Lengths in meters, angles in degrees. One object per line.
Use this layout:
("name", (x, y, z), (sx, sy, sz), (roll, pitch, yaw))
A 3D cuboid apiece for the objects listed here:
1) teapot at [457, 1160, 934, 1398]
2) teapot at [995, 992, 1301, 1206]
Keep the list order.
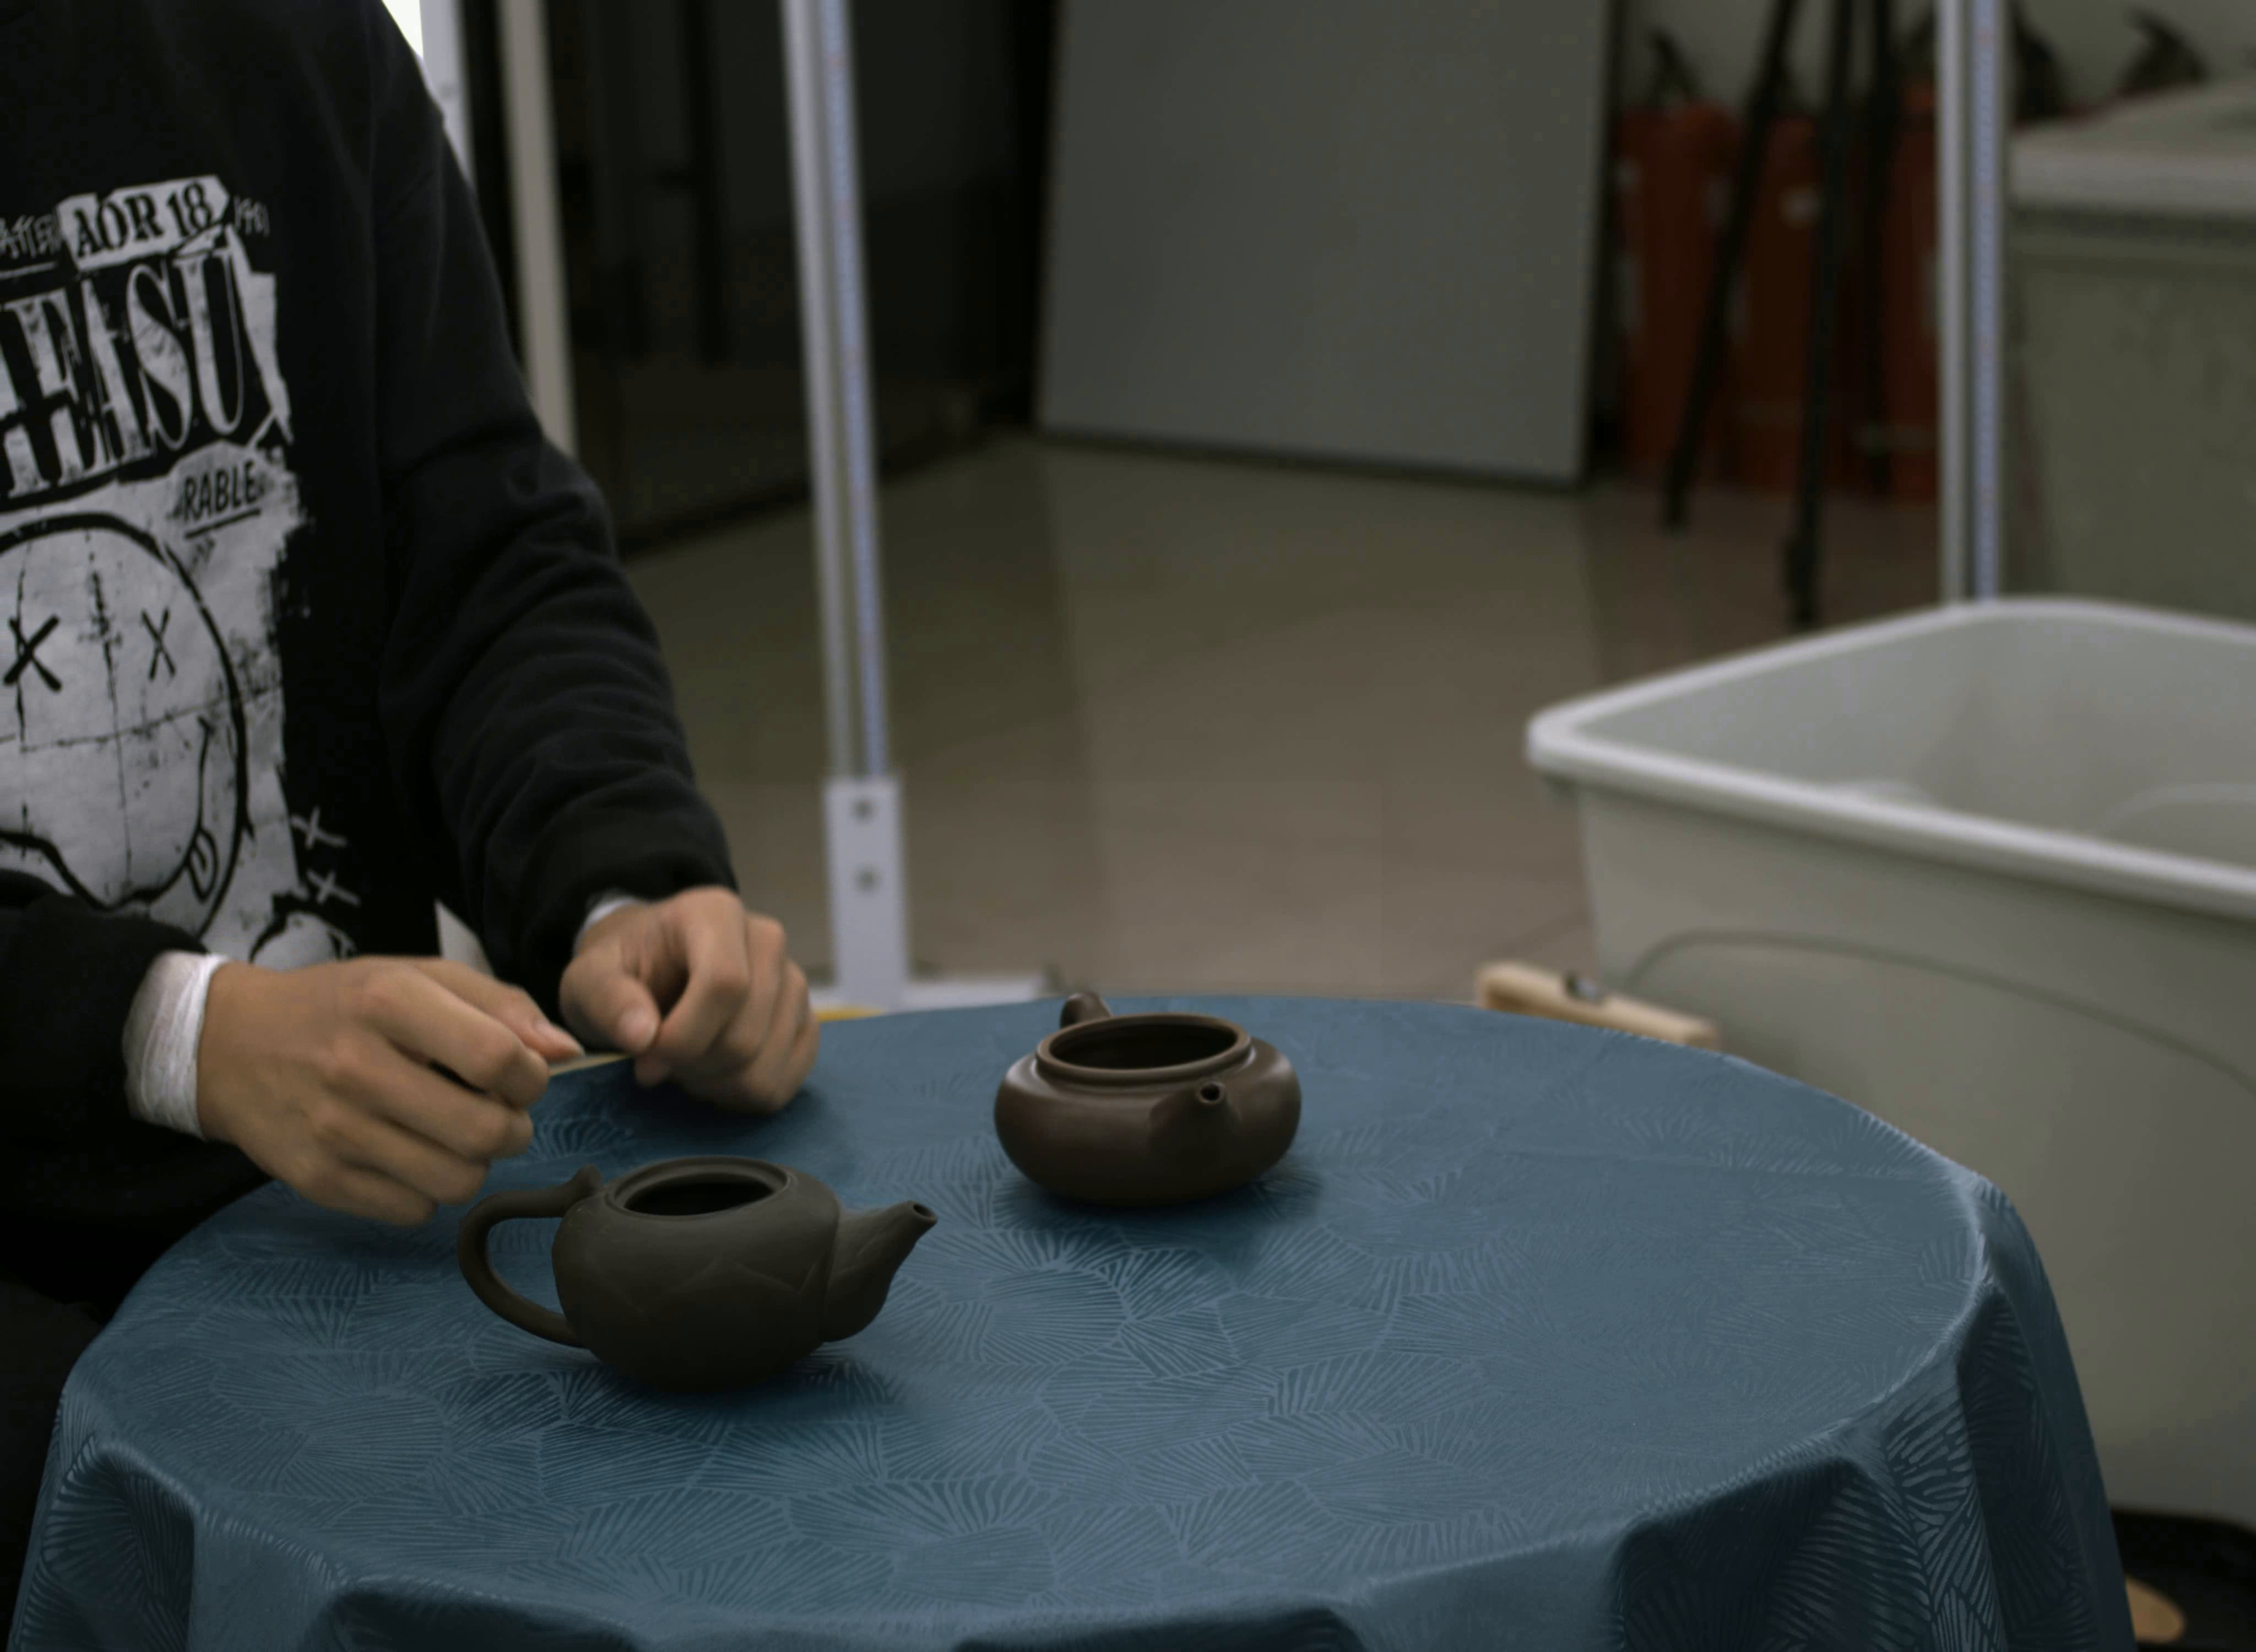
("teapot", (-0.130, 0.134, 1.629), (0.153, 0.065, 0.091), (0, 12, 17))
("teapot", (0.005, 0.090, 1.781), (0.100, 0.054, 0.155), (-7, 14, -21))
